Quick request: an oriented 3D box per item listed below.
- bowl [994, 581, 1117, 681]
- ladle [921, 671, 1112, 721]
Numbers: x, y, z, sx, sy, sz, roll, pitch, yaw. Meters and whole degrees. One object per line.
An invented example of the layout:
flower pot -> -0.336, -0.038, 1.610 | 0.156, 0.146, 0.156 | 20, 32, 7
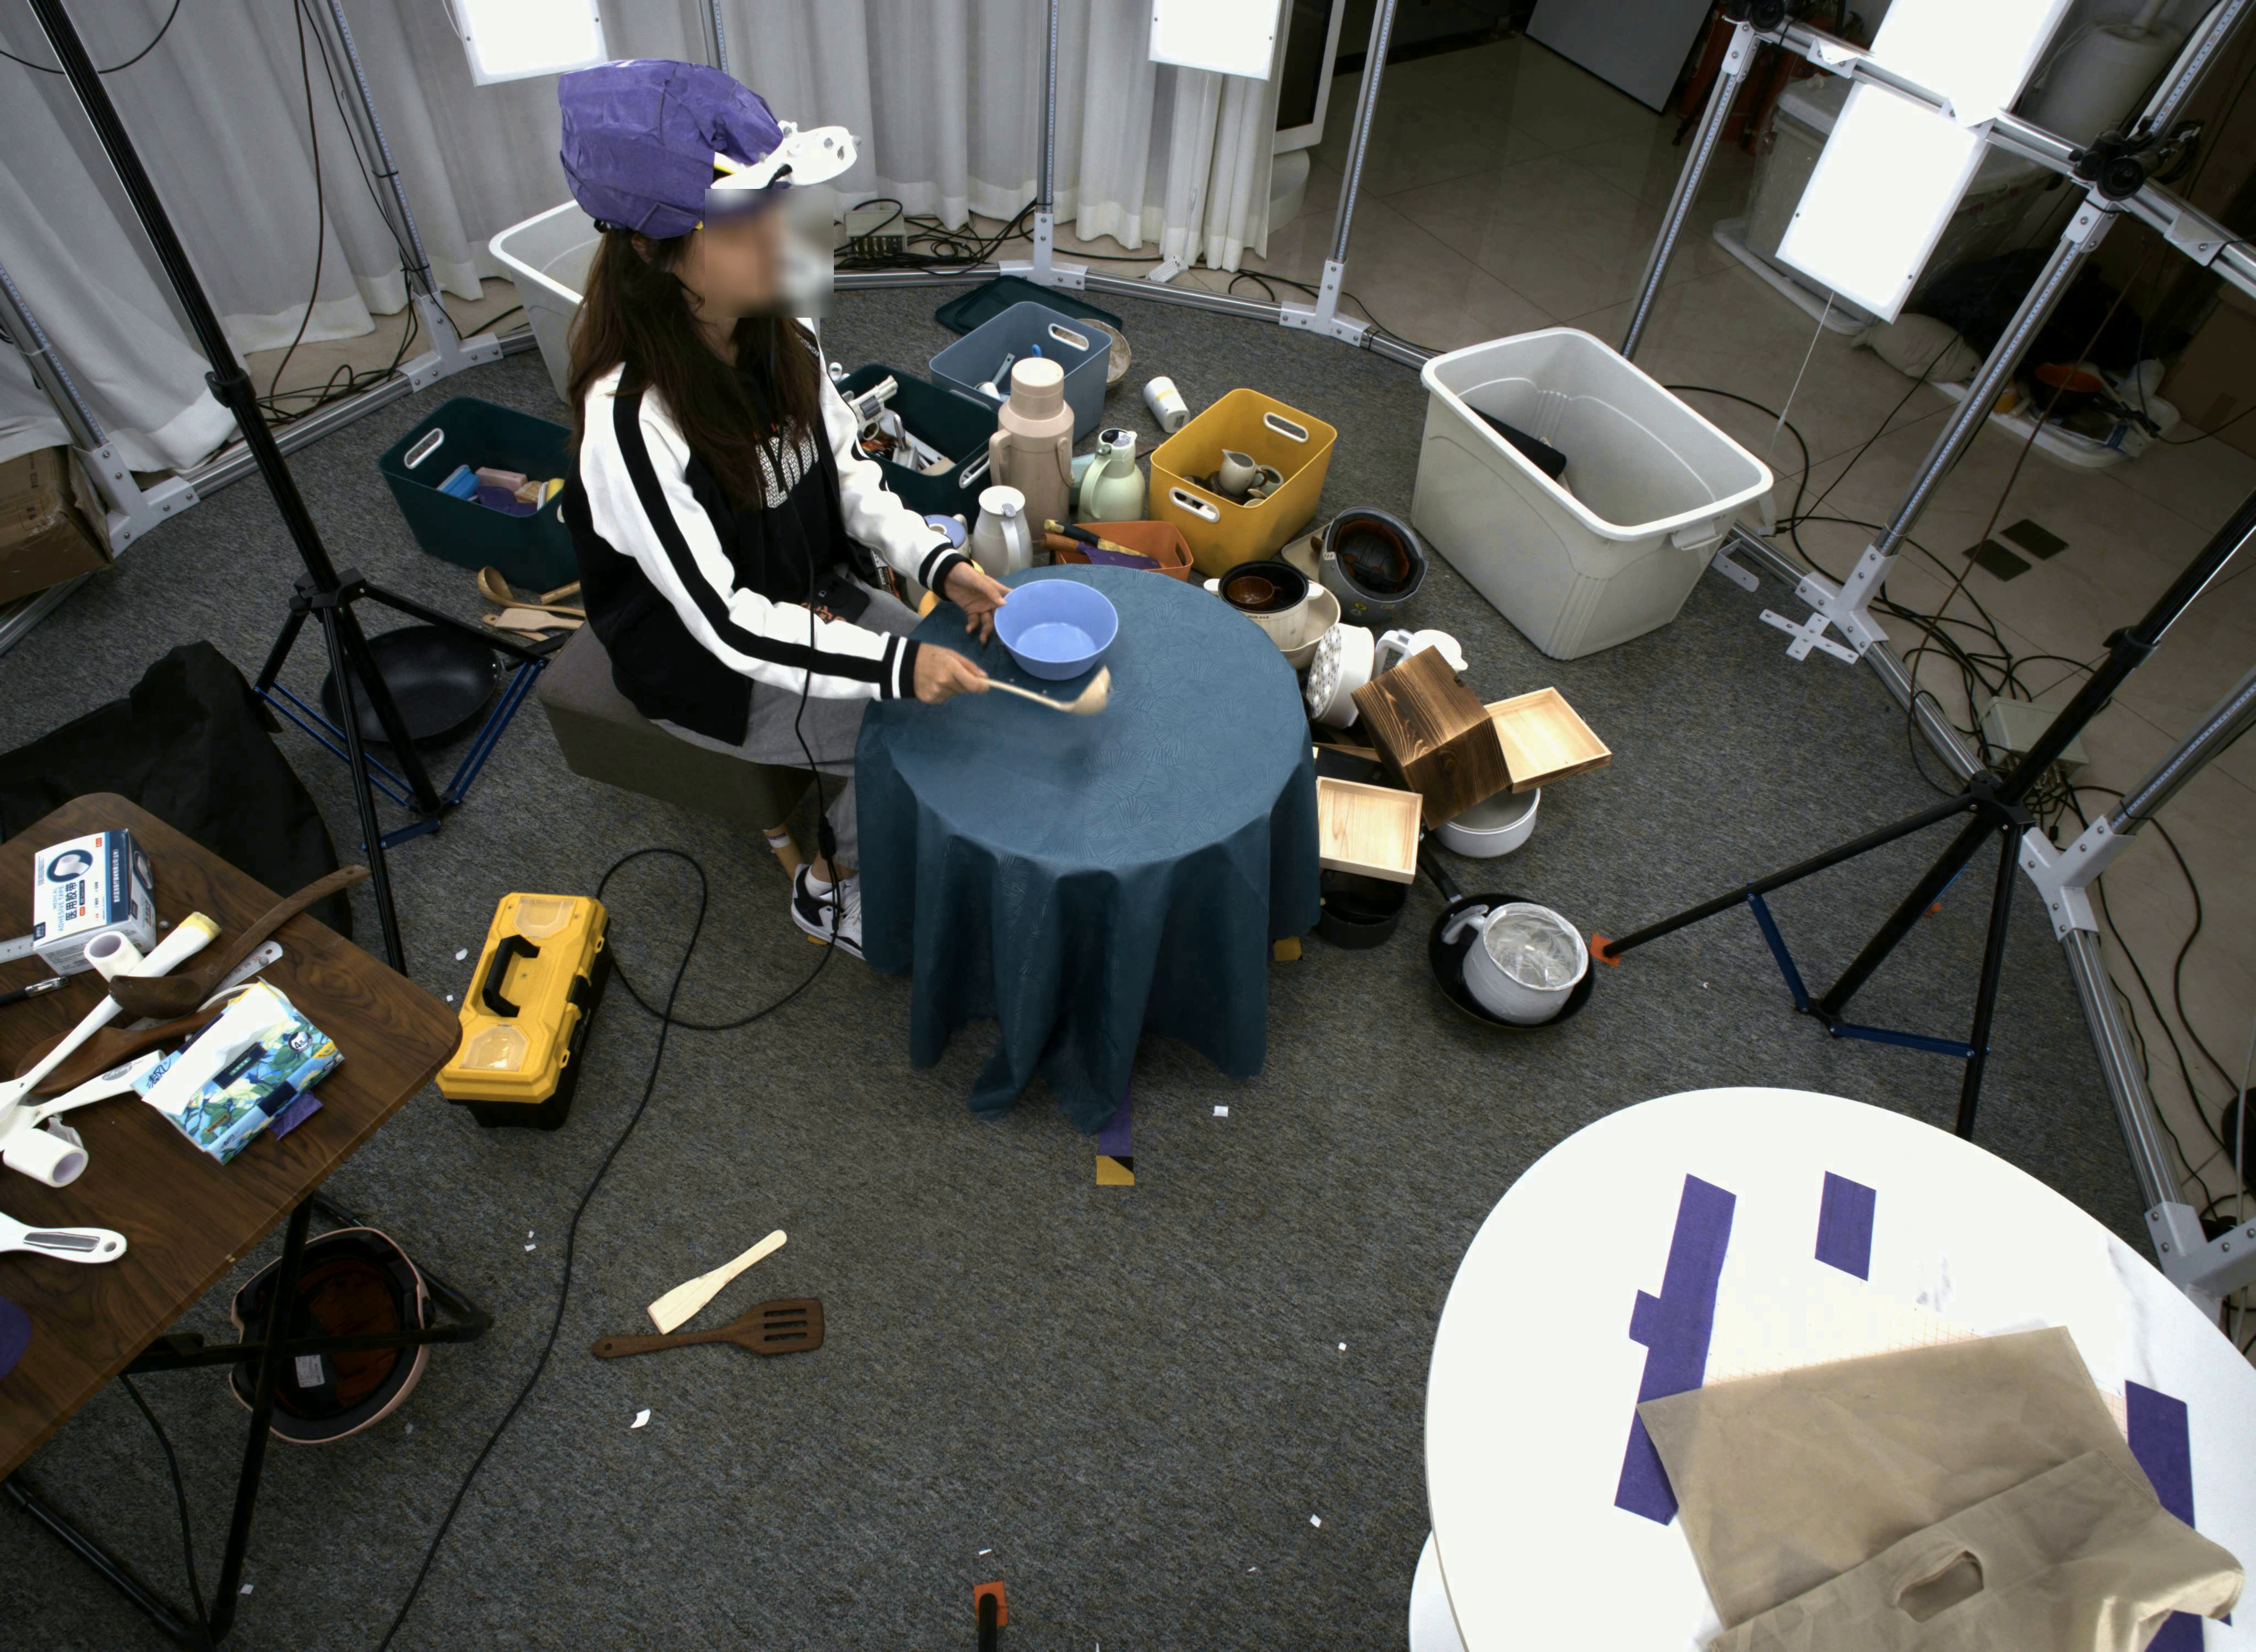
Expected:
bowl -> -0.105, -0.272, 1.854 | 0.176, 0.068, 0.180 | 2, 48, -3
ladle -> -0.147, -0.200, 1.714 | 0.254, 0.072, 0.073 | 15, 21, 2
